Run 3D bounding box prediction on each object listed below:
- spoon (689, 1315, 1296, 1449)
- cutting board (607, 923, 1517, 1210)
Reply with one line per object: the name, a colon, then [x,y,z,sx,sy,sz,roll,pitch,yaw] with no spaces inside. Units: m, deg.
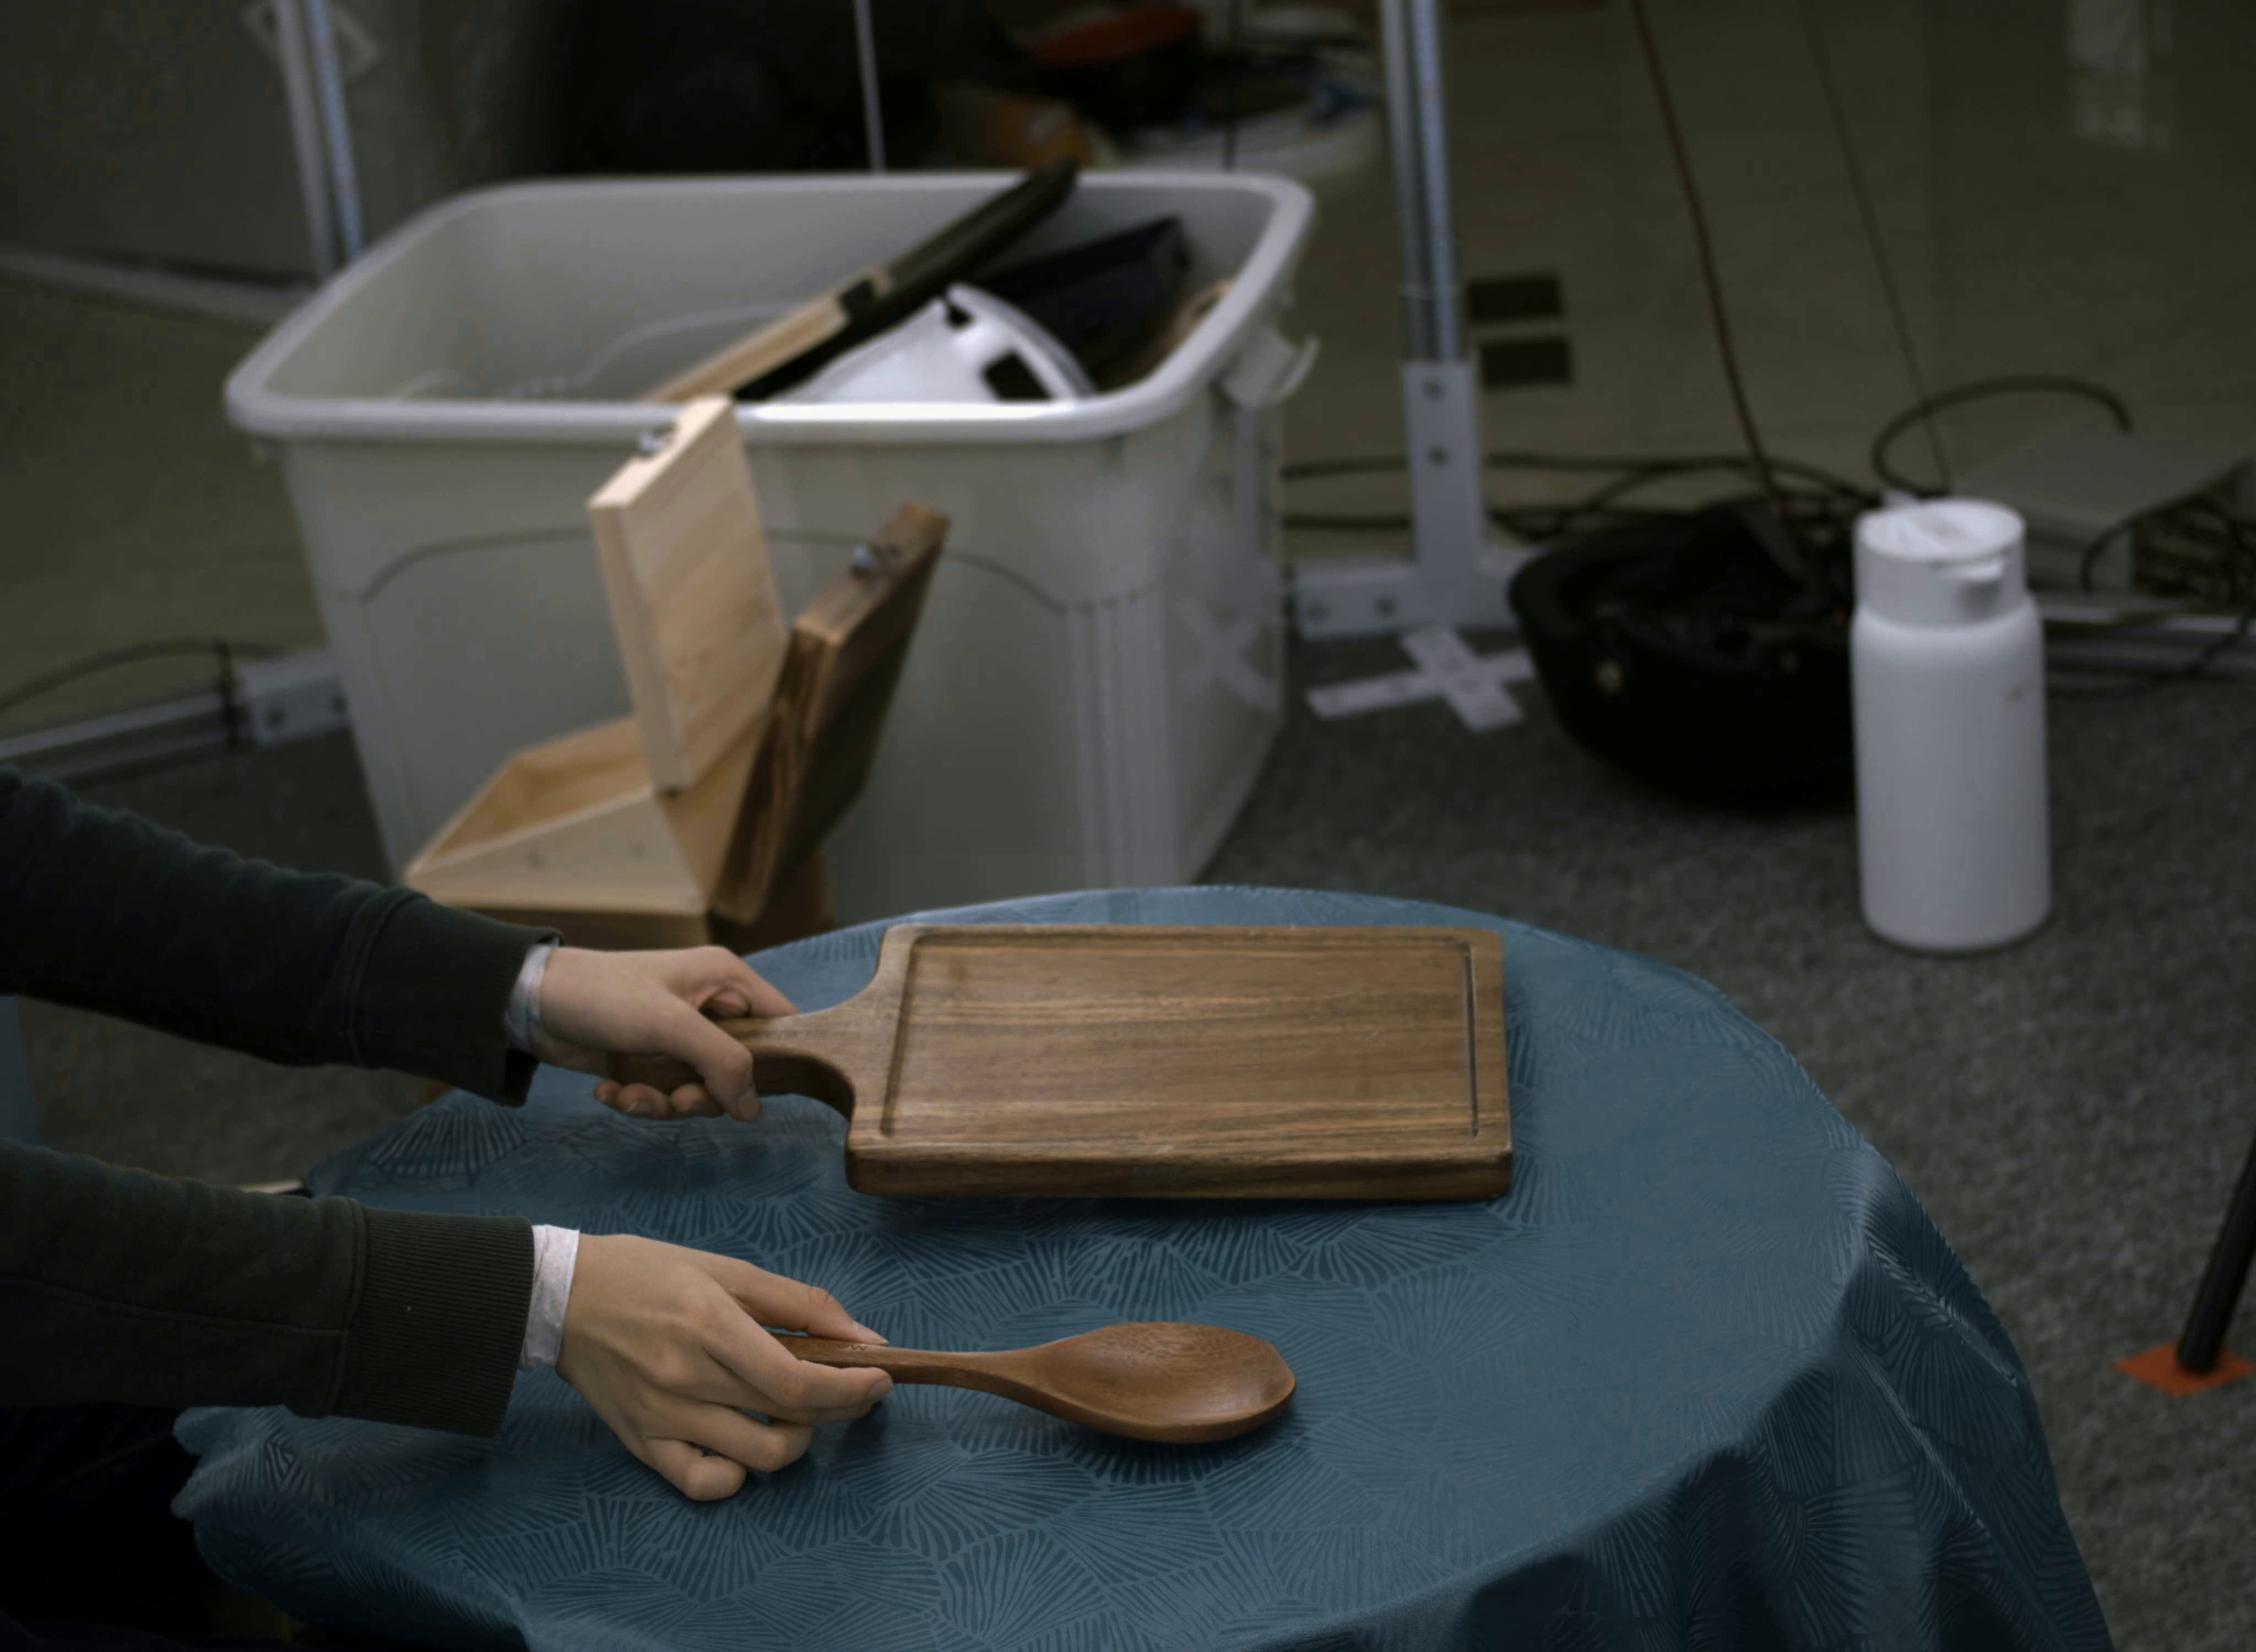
spoon: [-0.048,0.193,2.004,0.215,0.017,0.074,5,28,5]
cutting board: [-0.027,0.091,2.204,0.351,0.023,0.198,0,27,2]
